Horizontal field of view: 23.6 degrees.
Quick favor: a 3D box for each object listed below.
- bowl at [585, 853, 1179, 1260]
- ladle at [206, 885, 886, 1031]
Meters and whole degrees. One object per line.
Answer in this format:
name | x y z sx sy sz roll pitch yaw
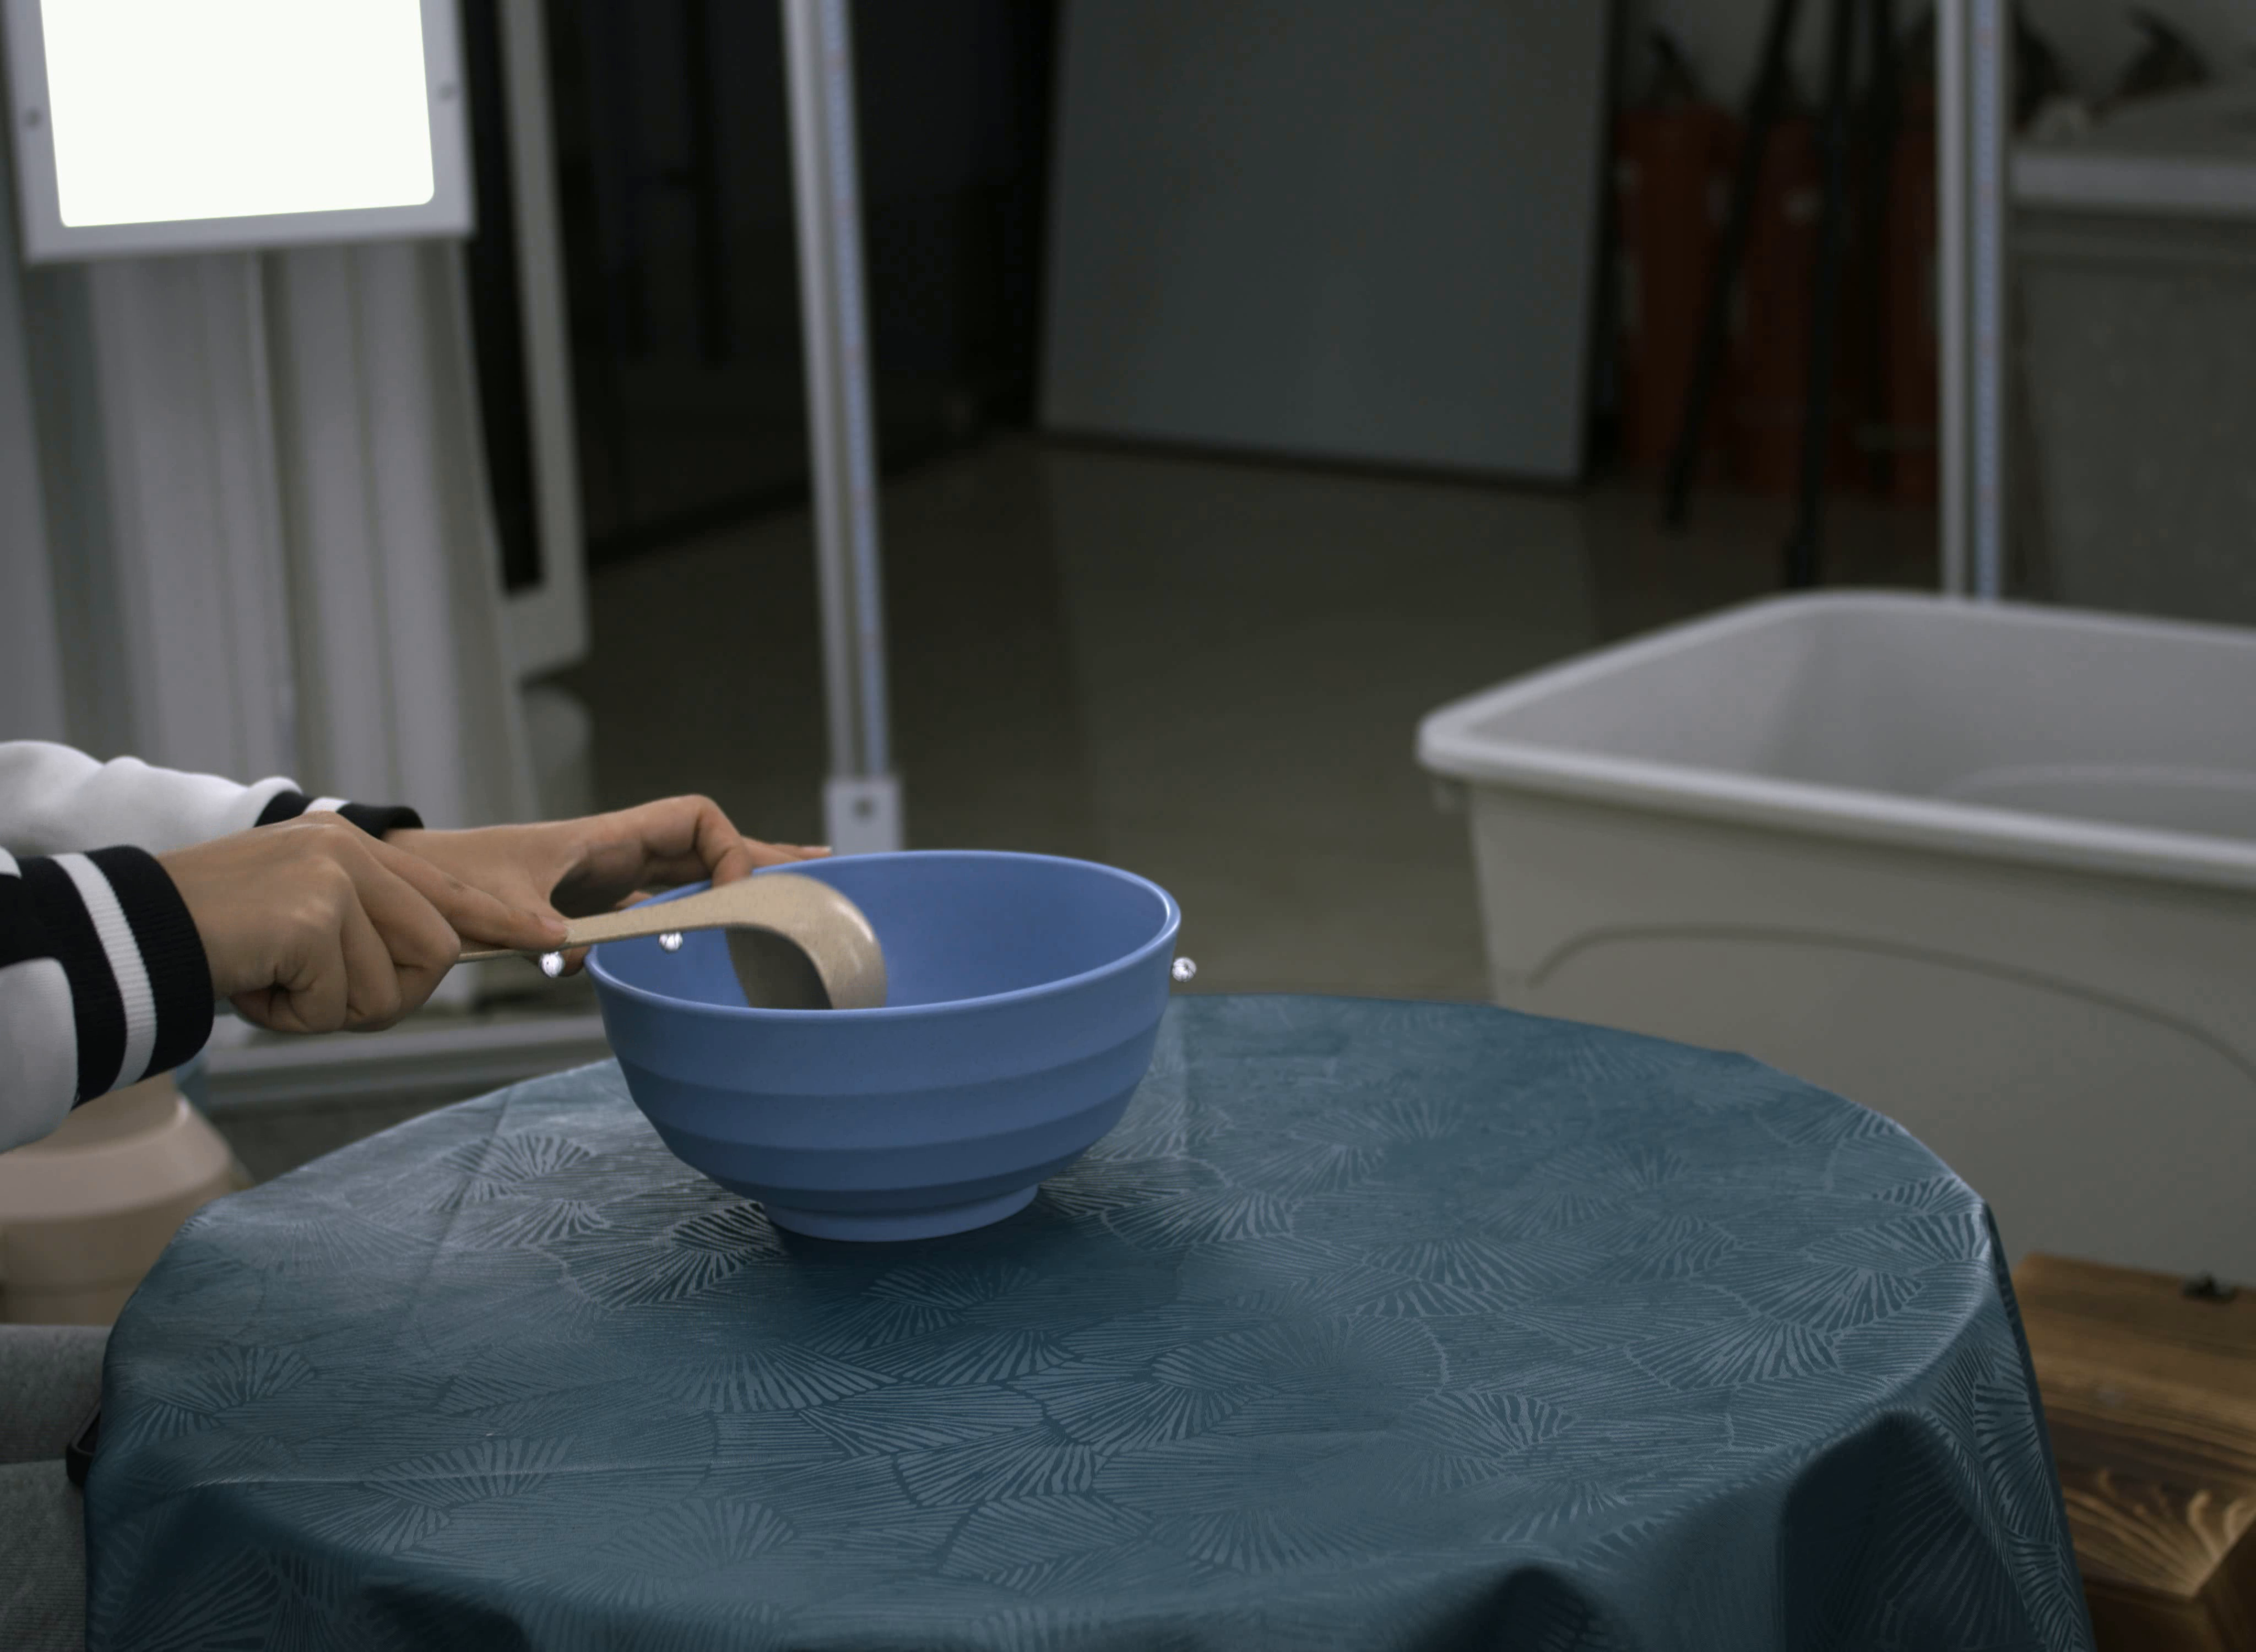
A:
bowl | -0.077 0.082 1.769 0.194 0.096 0.197 -5 15 0
ladle | -0.185 0.057 1.693 0.248 0.073 0.073 -1 30 -39
